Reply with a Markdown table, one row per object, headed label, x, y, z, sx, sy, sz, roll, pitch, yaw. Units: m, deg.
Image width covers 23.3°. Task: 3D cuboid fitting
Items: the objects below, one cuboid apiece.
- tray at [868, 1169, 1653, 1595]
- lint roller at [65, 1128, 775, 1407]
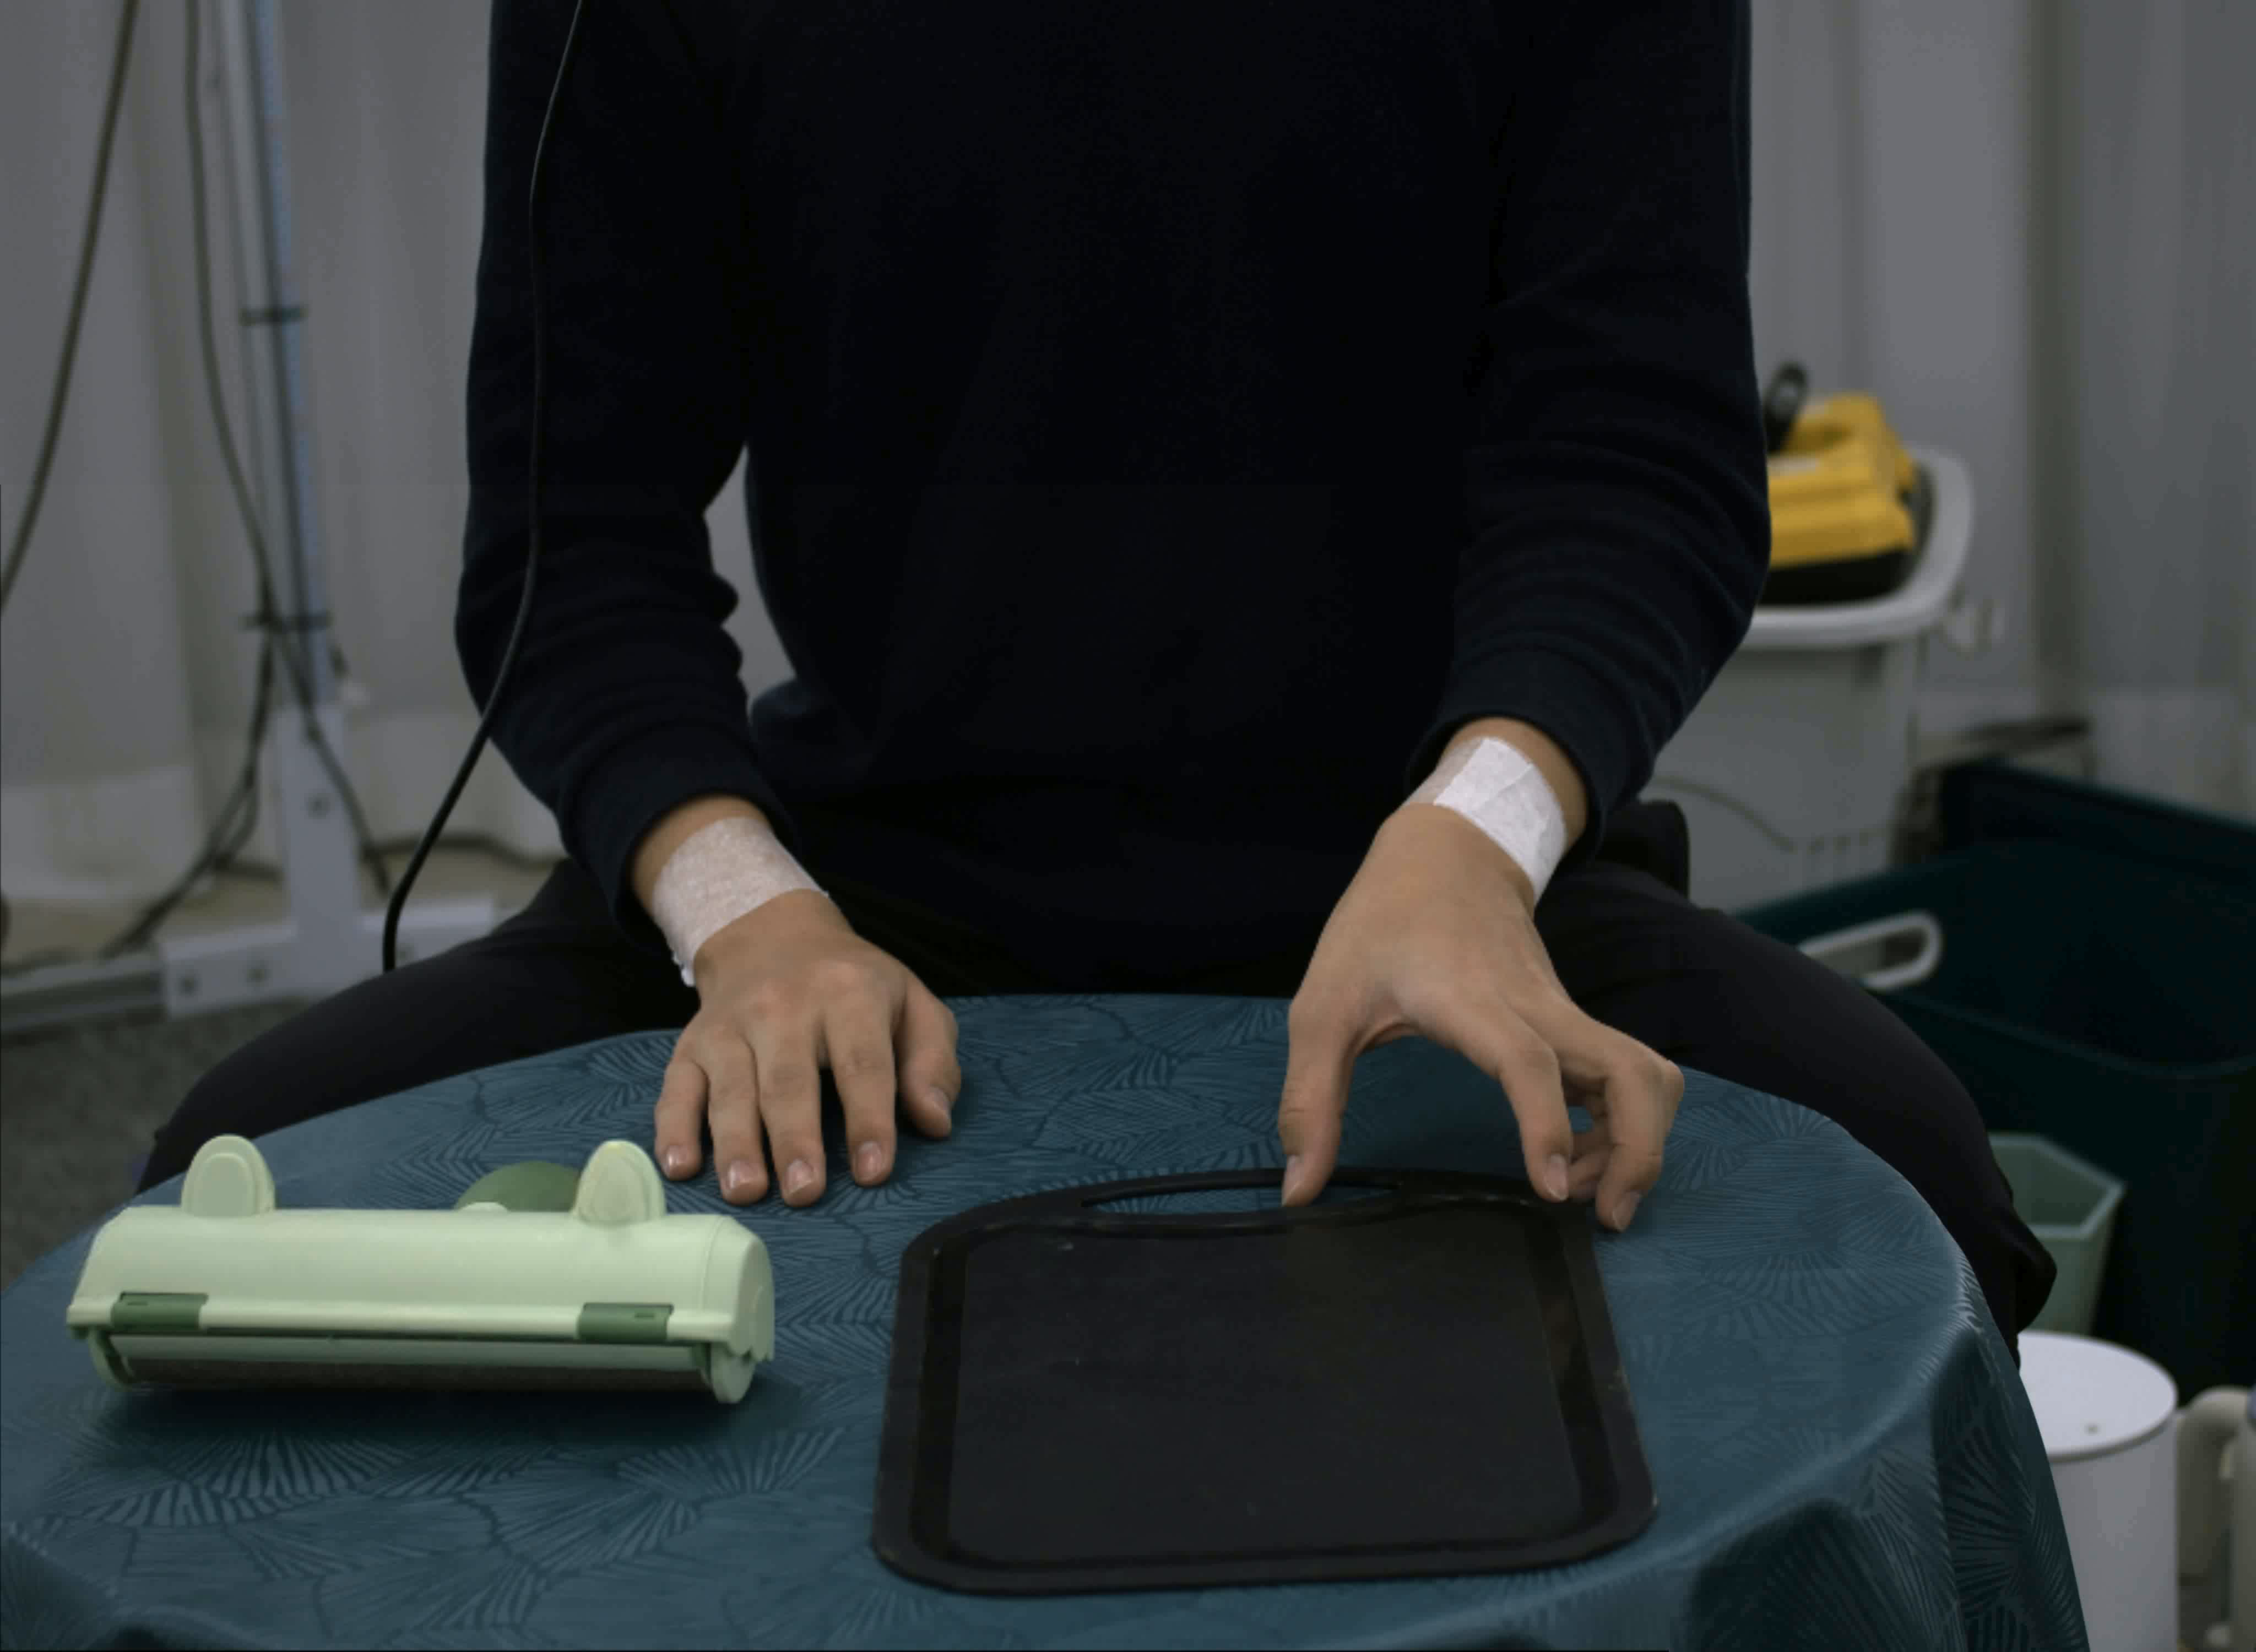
| label | x | y | z | sx | sy | sz | roll | pitch | yaw |
| --- | --- | --- | --- | --- | --- | --- | --- | --- | --- |
| tray | 0.035 | 0.151 | 1.561 | 0.210 | 0.010 | 0.327 | -3 | 15 | 1 |
| lint roller | -0.193 | 0.109 | 1.612 | 0.198 | 0.081 | 0.185 | 0 | 22 | 9 |
